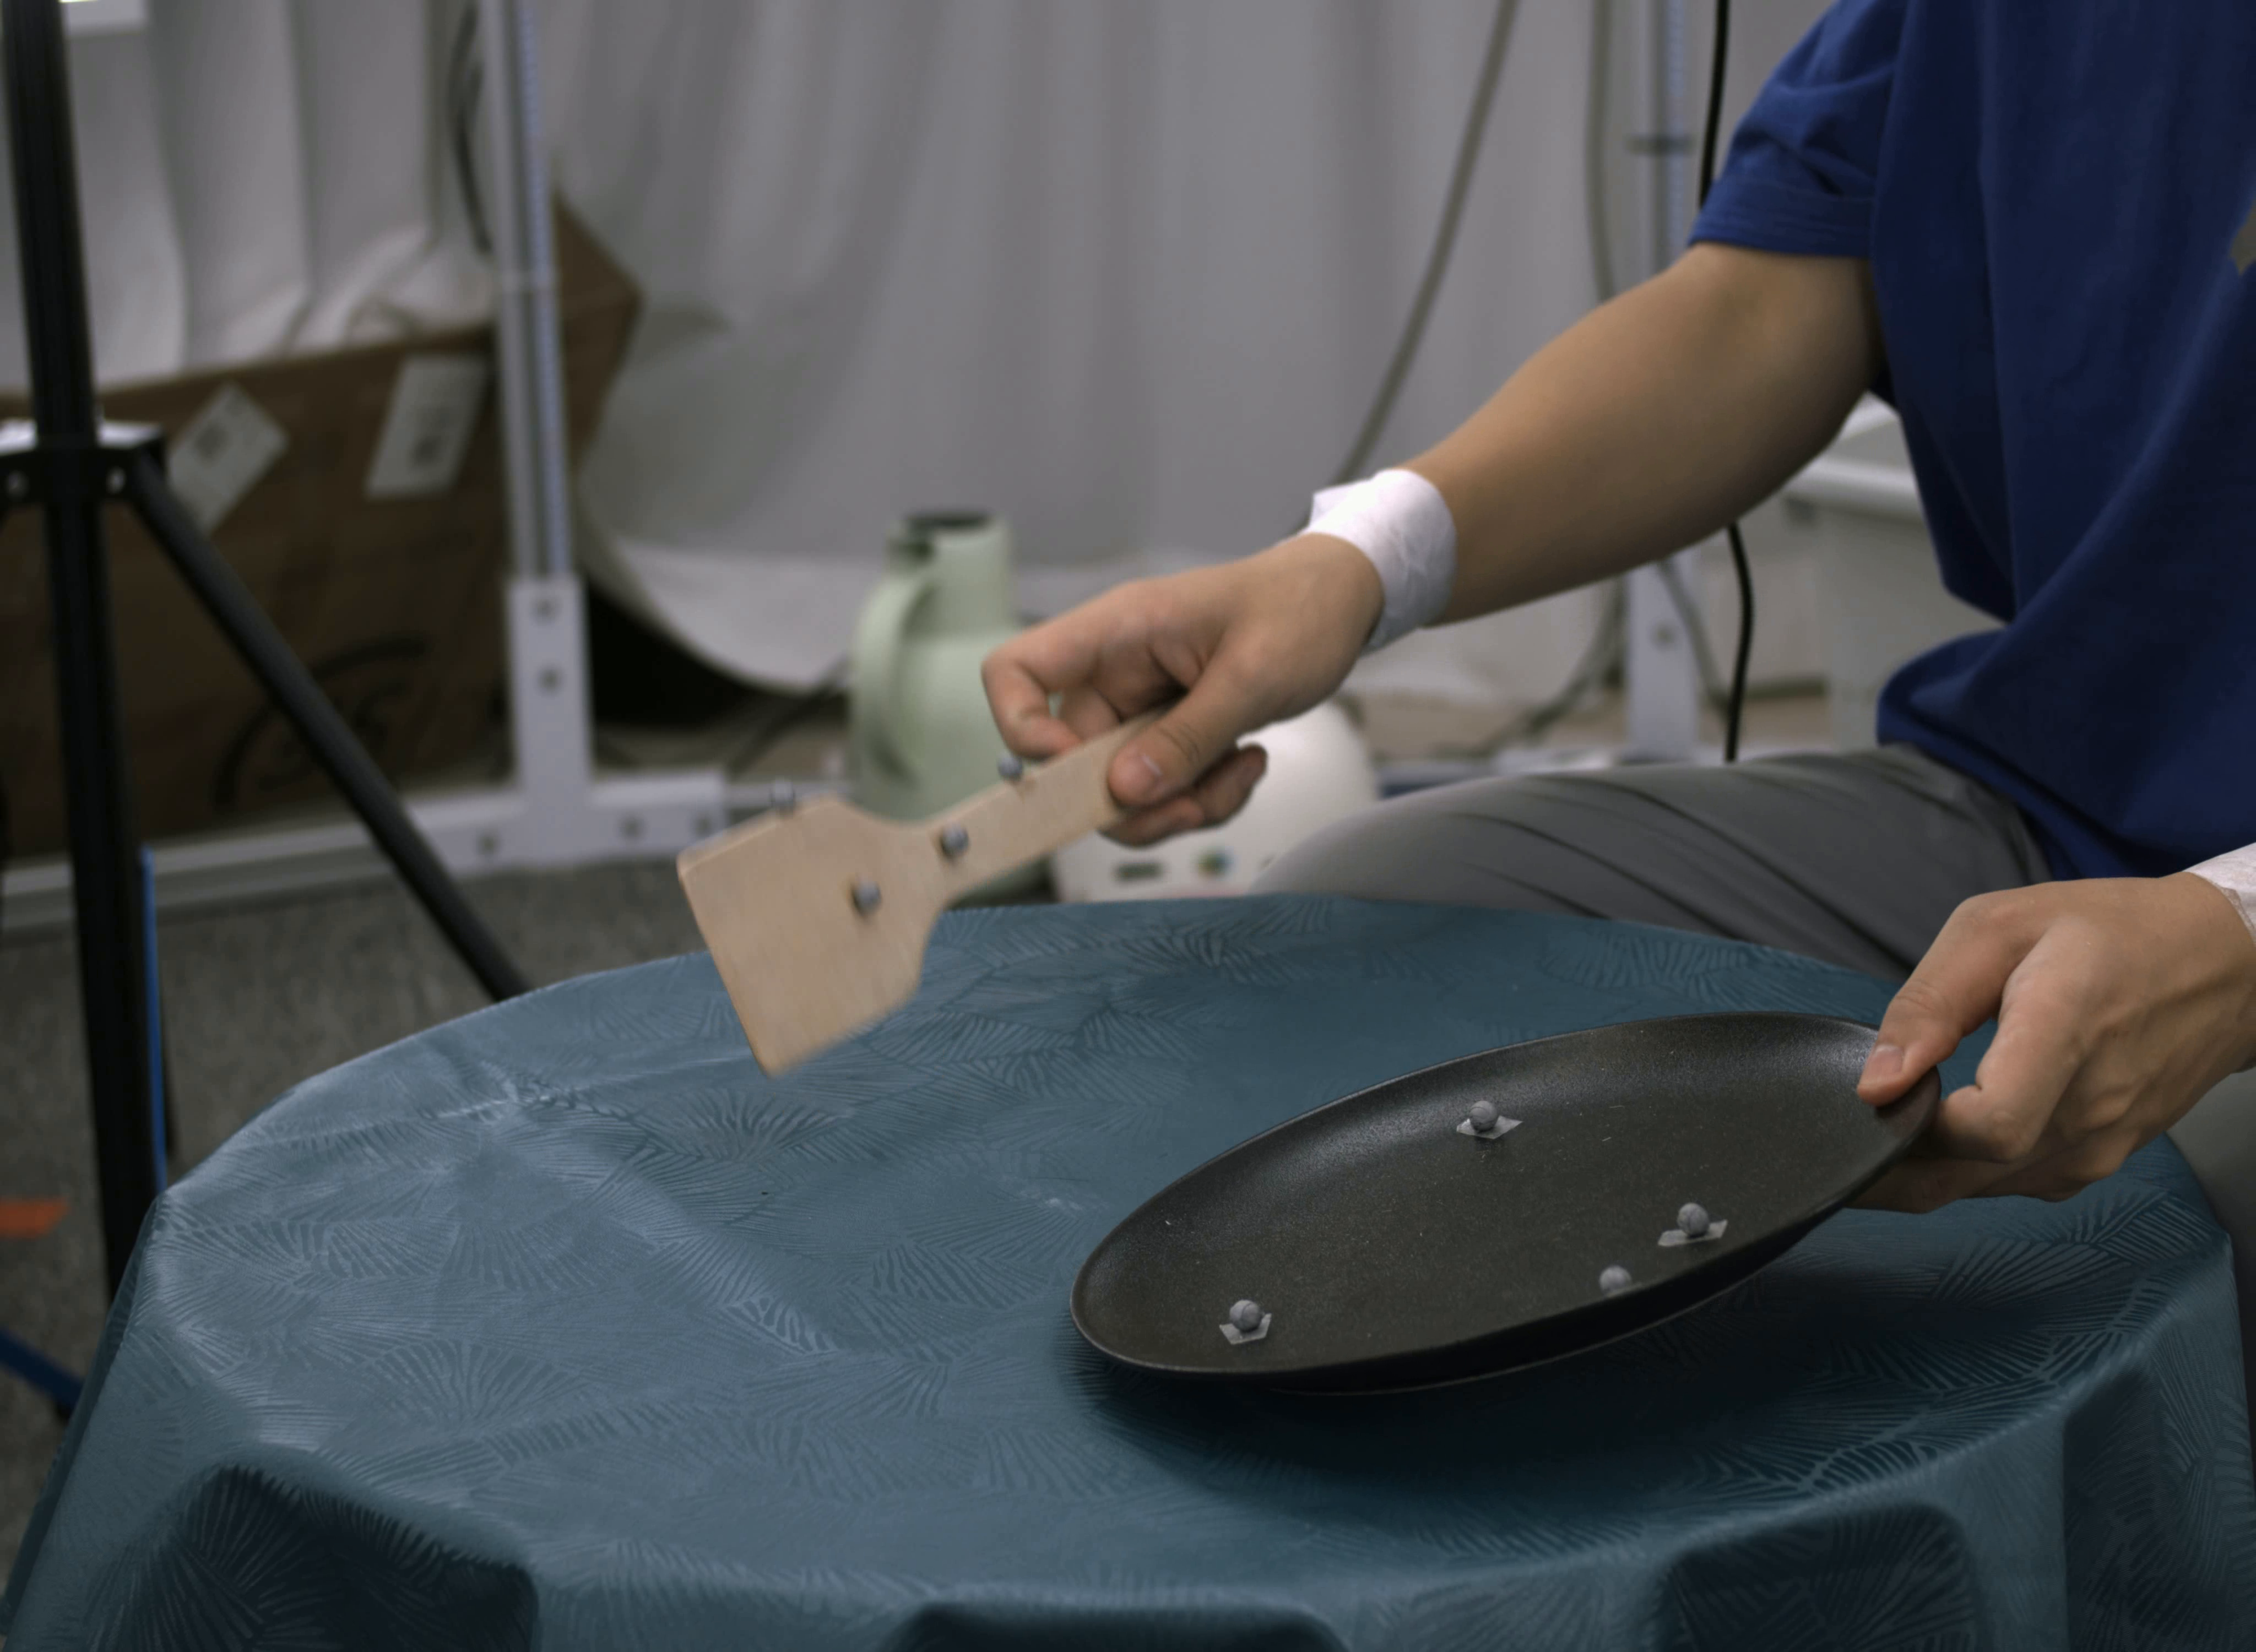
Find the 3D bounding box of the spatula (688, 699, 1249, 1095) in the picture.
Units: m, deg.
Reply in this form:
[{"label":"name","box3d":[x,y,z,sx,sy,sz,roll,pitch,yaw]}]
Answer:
[{"label":"spatula","box3d":[-0.042,0.008,1.692,0.011,0.072,0.287,-25,2,38]}]

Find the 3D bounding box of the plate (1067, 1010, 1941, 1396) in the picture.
[{"label":"plate","box3d":[0.103,0.106,1.429,0.244,0.023,0.245,-17,13,2]}]
